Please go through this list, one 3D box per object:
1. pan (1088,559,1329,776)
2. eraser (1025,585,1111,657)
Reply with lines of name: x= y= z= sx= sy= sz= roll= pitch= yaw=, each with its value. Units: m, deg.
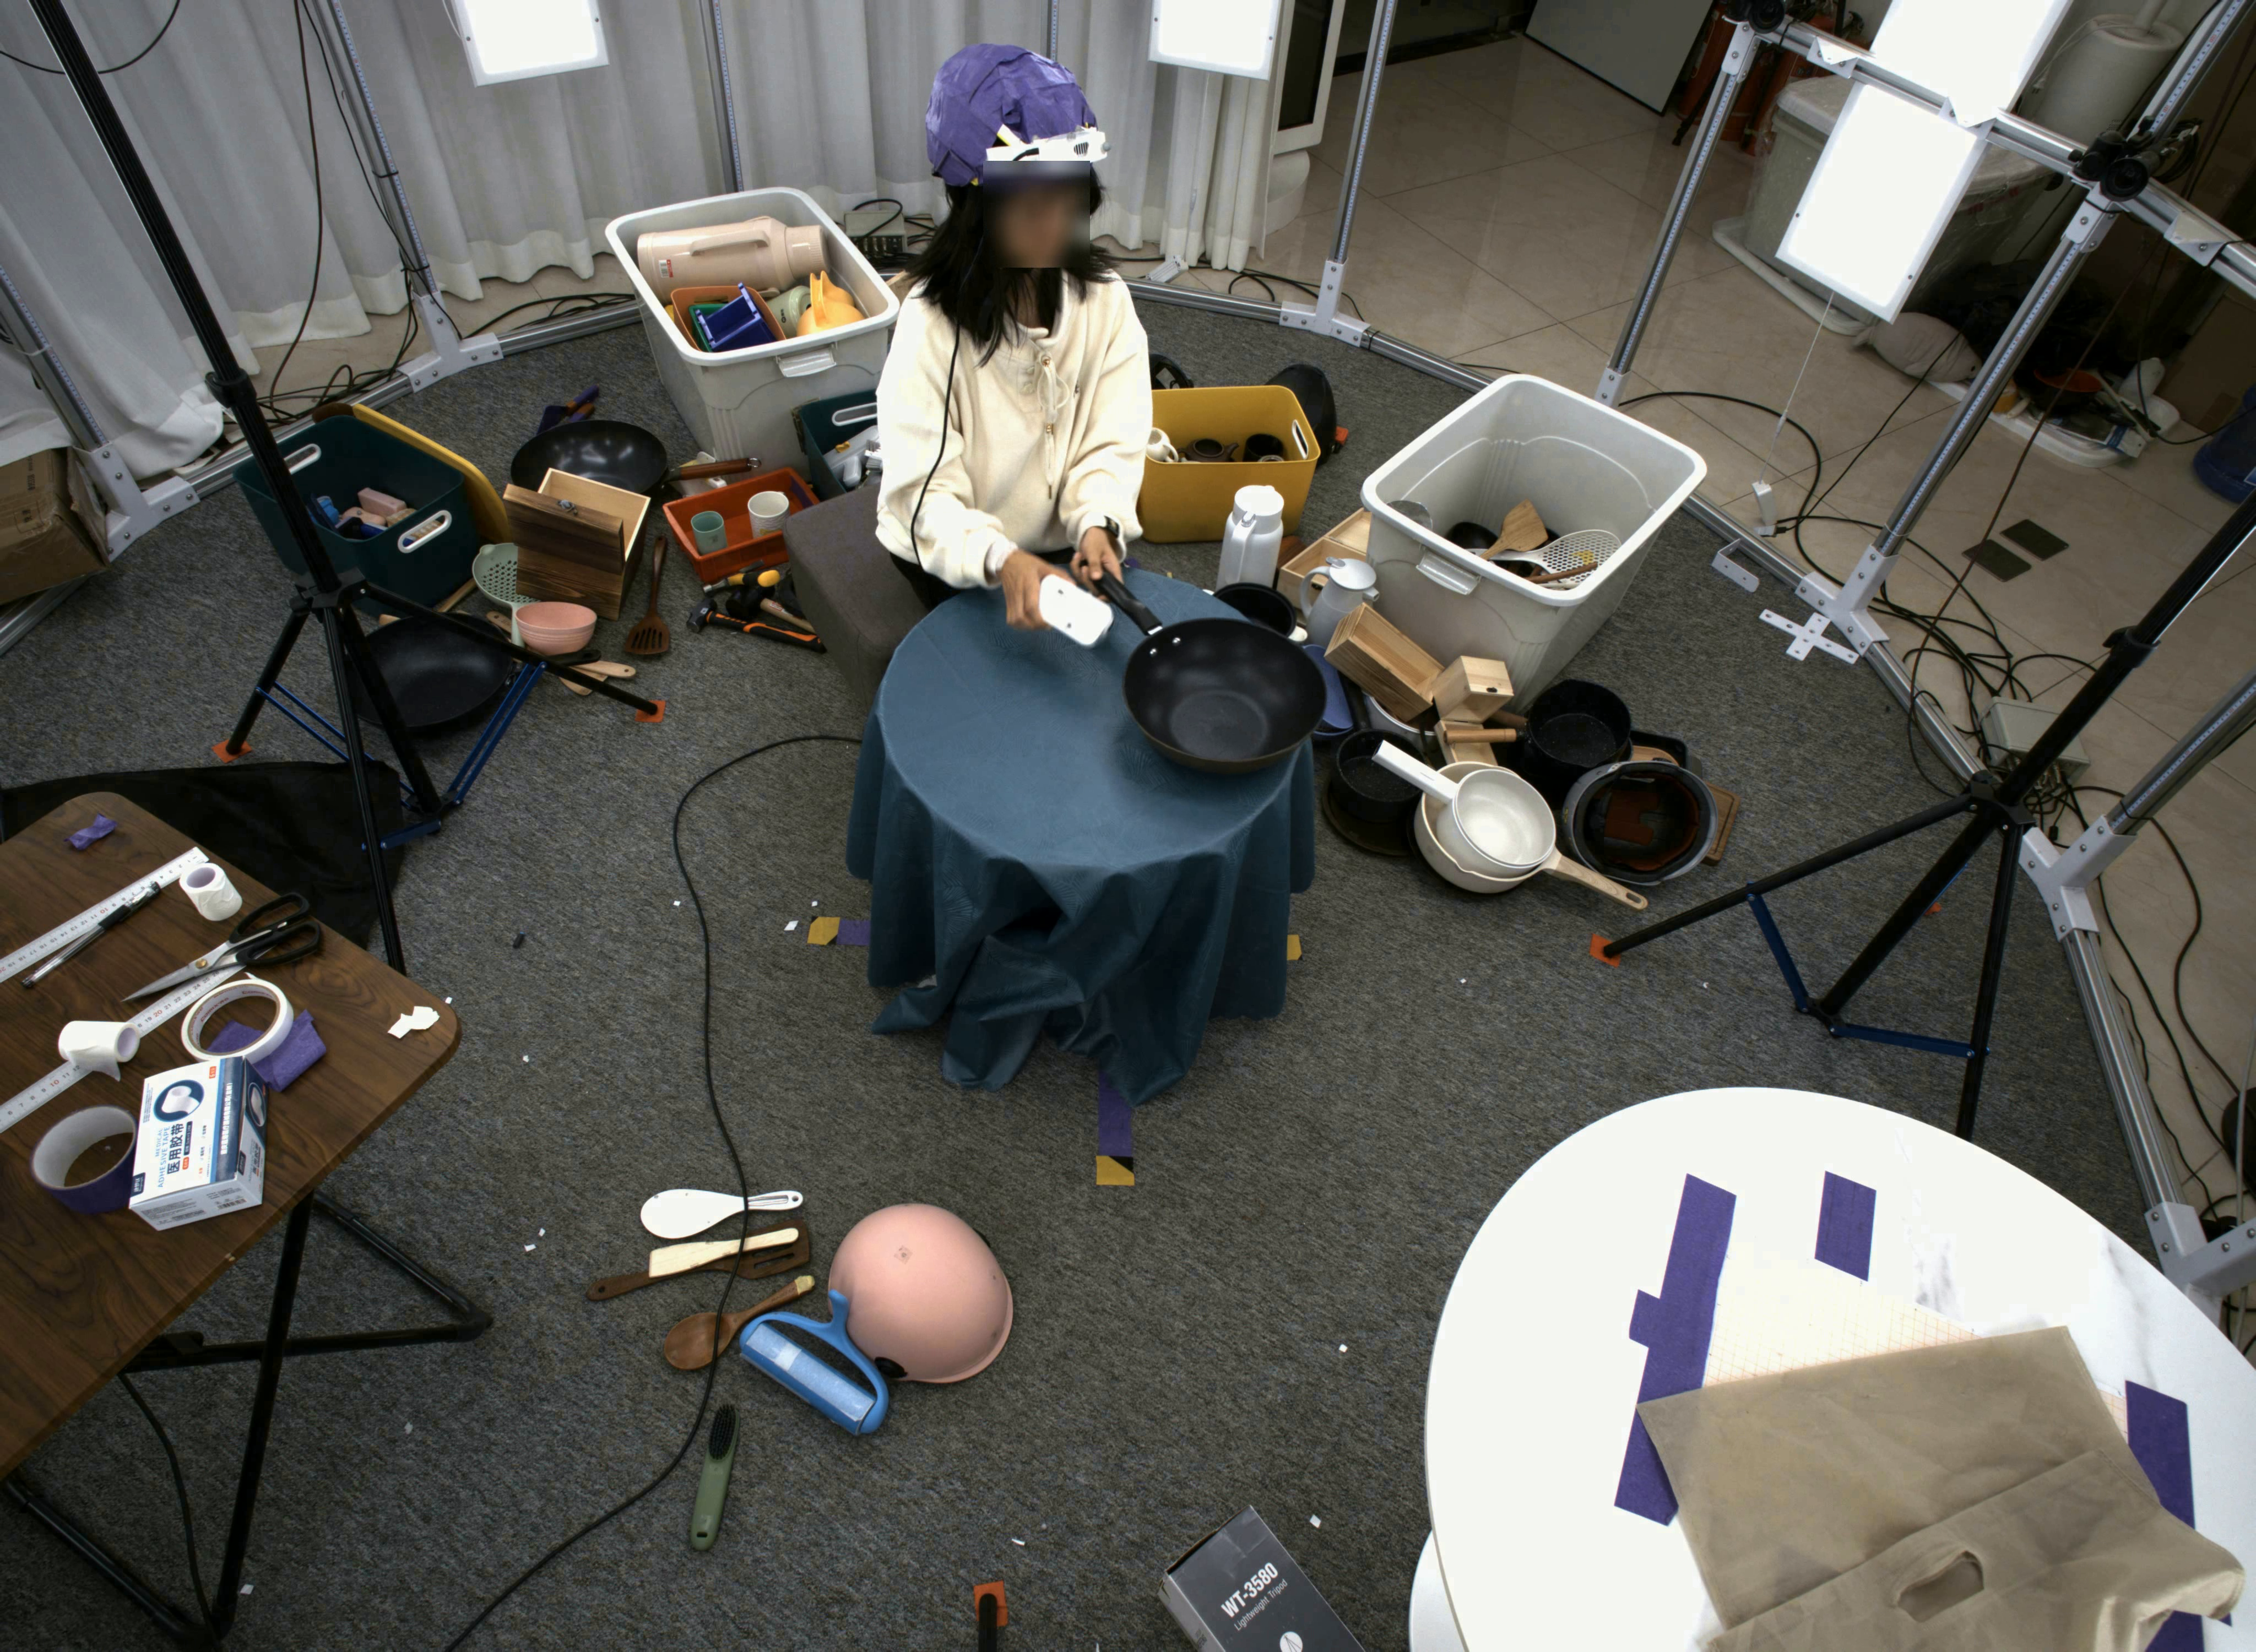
pan: x=0.077 y=-0.221 z=1.814 sx=0.289 sy=0.085 sz=0.472 roll=-27 pitch=55 yaw=-25
eraser: x=-0.084 y=-0.291 z=1.805 sx=0.133 sy=0.034 sz=0.063 roll=37 pitch=84 yaw=30
